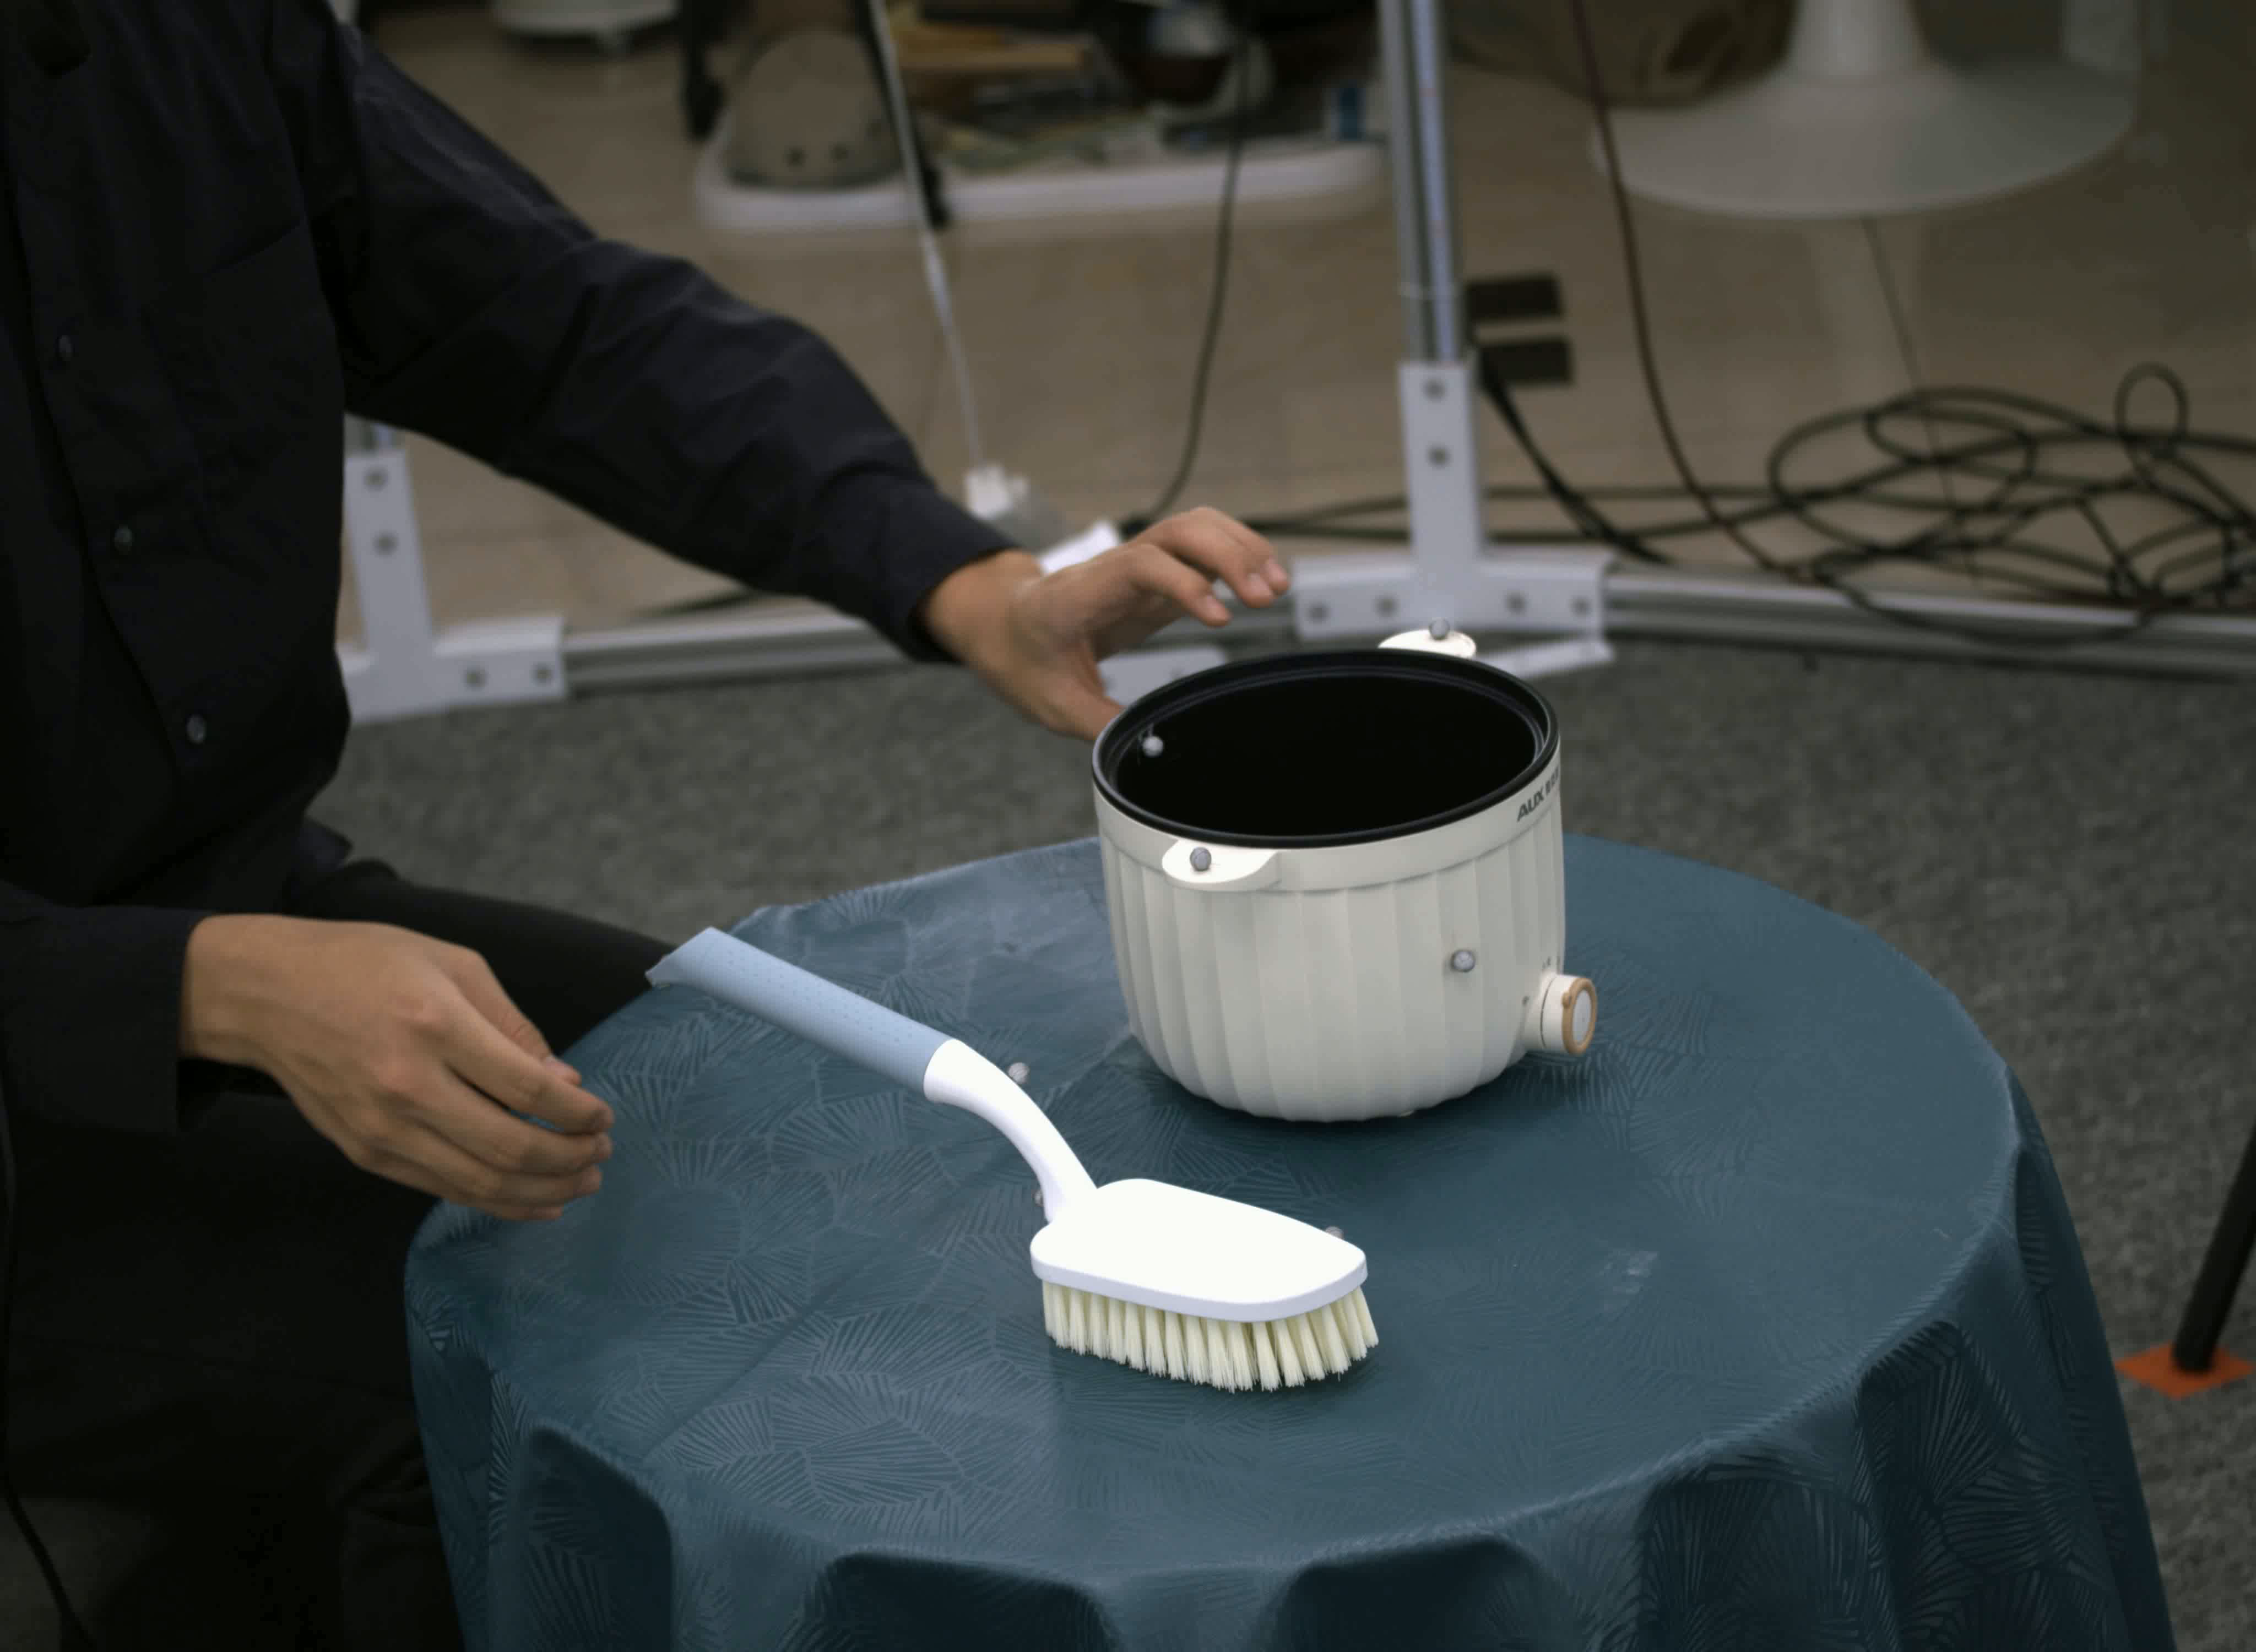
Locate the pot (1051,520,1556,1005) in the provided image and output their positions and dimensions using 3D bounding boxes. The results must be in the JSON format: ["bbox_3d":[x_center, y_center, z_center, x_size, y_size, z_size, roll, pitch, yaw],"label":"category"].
[{"bbox_3d":[0.071,-0.017,2.231,0.190,0.145,0.237,4,29,26],"label":"pot"}]

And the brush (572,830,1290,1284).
[{"bbox_3d":[-0.077,0.095,2.105,0.323,0.085,0.083,24,2,27],"label":"brush"}]
